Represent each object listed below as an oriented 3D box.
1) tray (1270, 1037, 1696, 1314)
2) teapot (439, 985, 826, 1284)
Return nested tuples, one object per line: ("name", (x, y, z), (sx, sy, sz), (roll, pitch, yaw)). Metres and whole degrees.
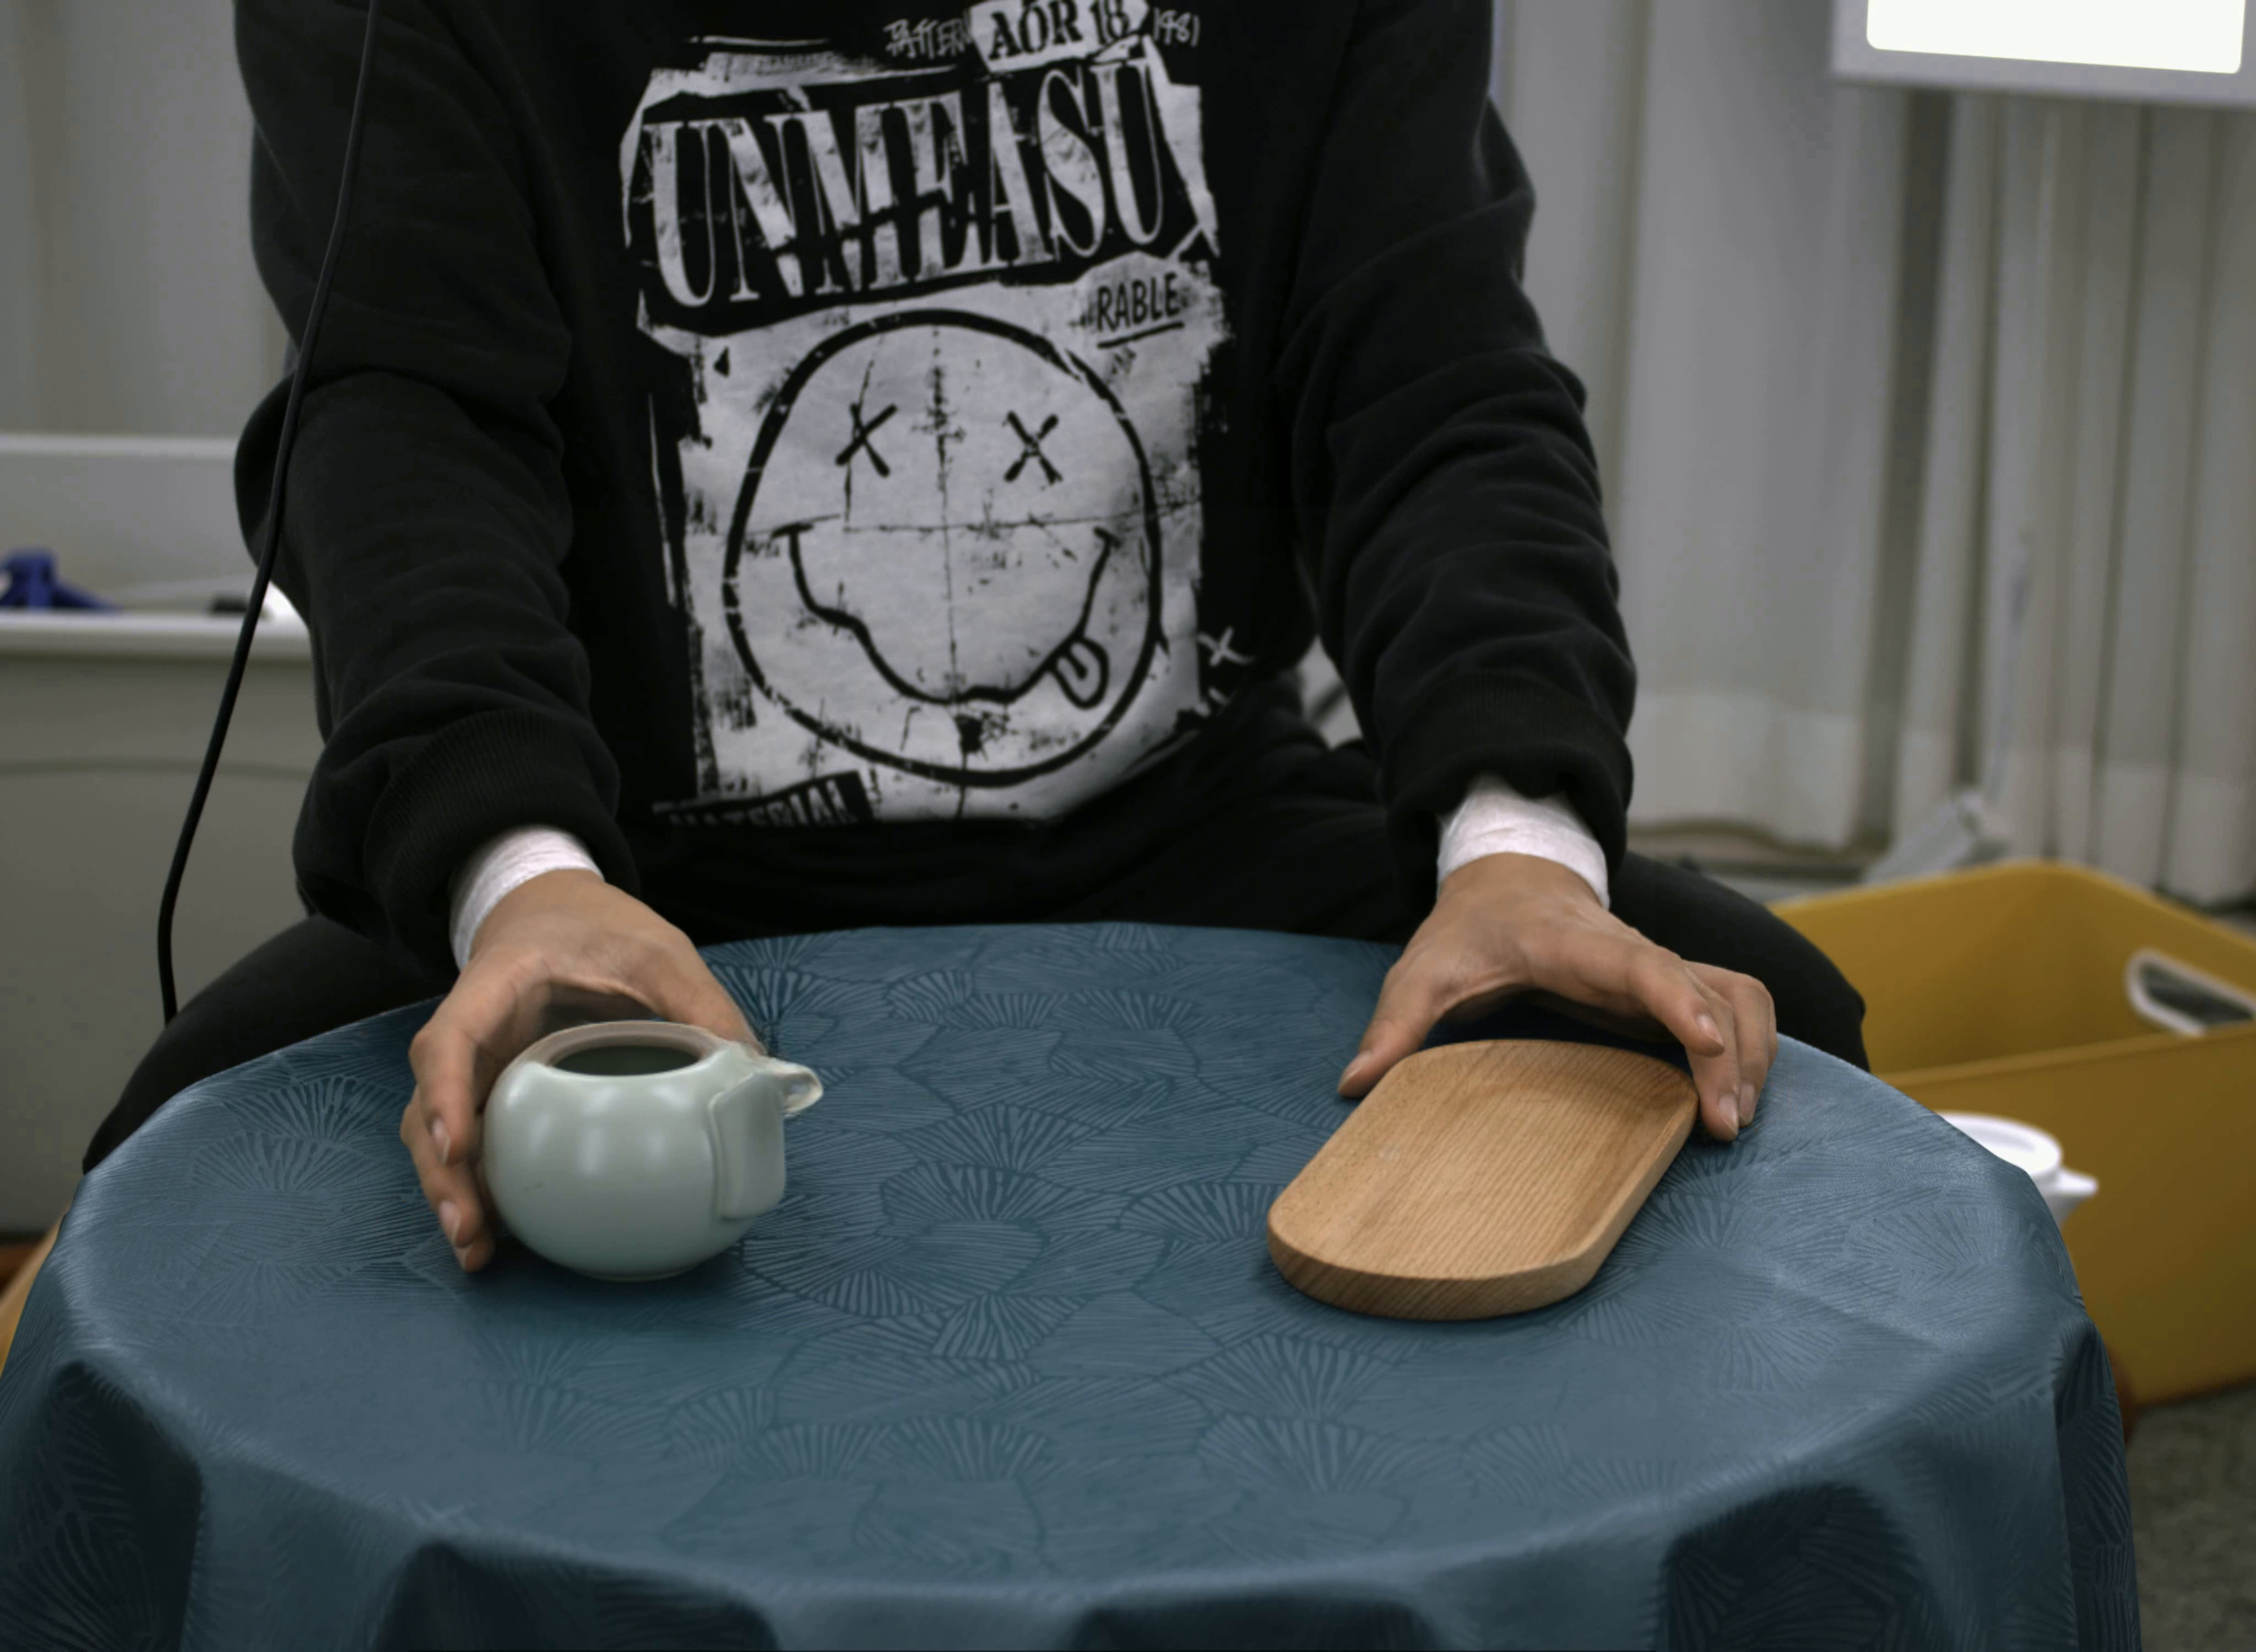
("tray", (0.111, 0.105, 1.622), (0.101, 0.020, 0.231), (7, 15, 16))
("teapot", (-0.146, 0.094, 1.551), (0.142, 0.075, 0.089), (13, 19, 35))
